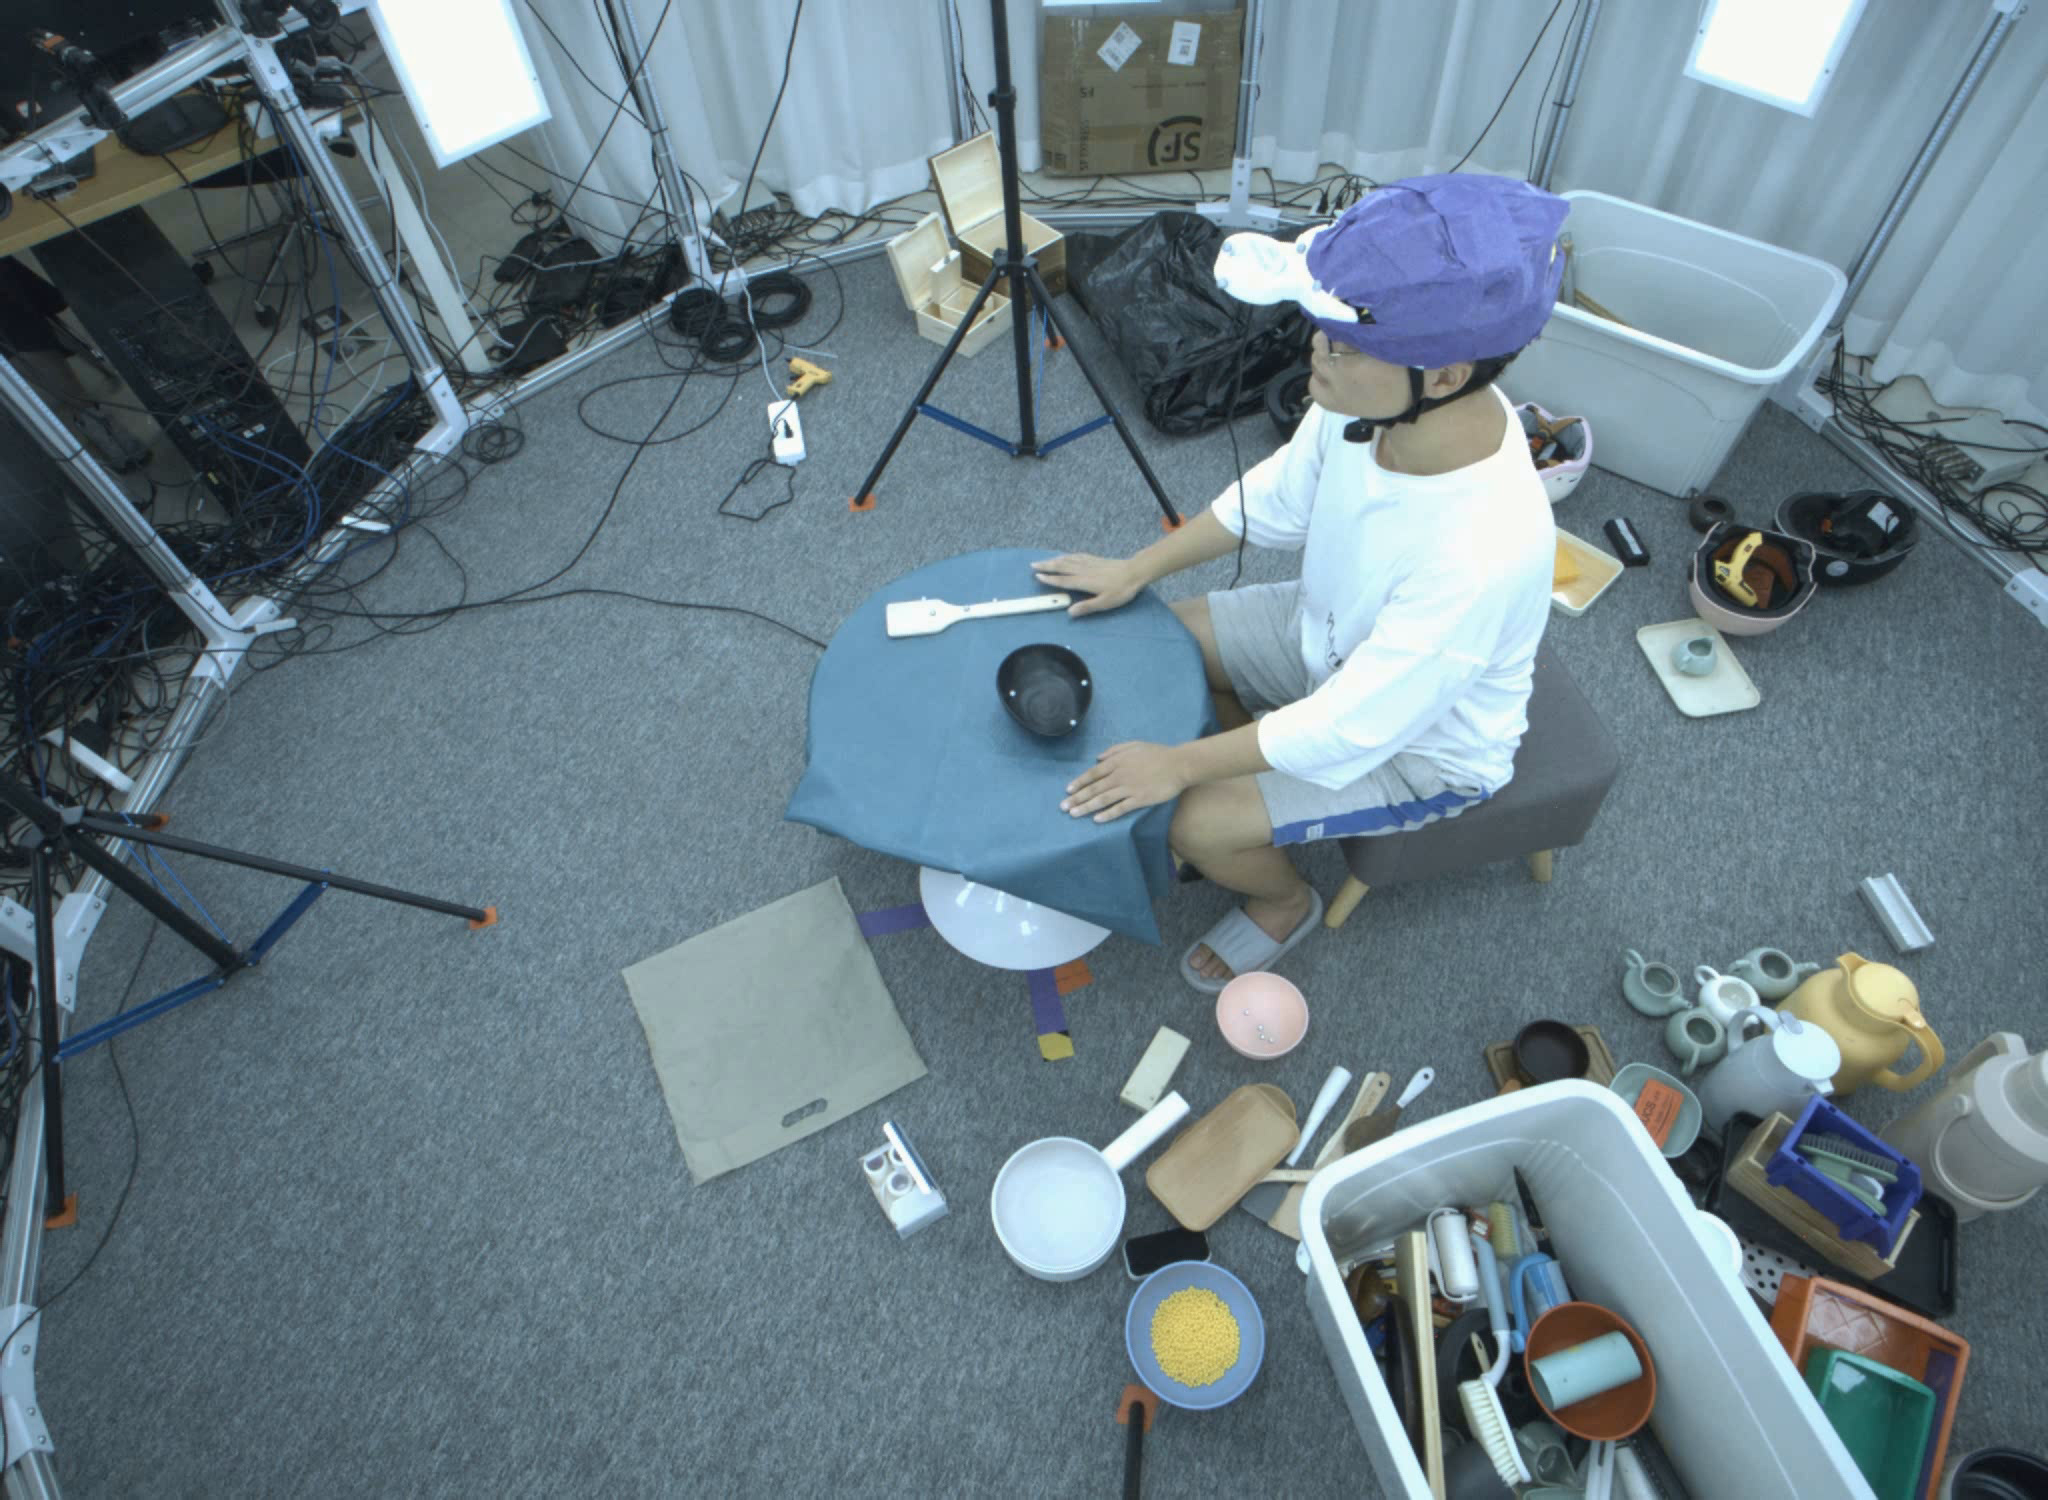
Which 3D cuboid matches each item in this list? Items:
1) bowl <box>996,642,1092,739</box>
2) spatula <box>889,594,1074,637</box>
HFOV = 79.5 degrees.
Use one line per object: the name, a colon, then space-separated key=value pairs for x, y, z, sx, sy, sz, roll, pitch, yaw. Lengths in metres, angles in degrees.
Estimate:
bowl: x=0.031 y=-0.079 z=1.801 sx=0.138 sy=0.067 sz=0.167 roll=-16 pitch=58 yaw=-10
spatula: x=-0.067 y=-0.221 z=1.939 sx=0.294 sy=0.011 sz=0.071 roll=-7 pitch=53 yaw=-3
